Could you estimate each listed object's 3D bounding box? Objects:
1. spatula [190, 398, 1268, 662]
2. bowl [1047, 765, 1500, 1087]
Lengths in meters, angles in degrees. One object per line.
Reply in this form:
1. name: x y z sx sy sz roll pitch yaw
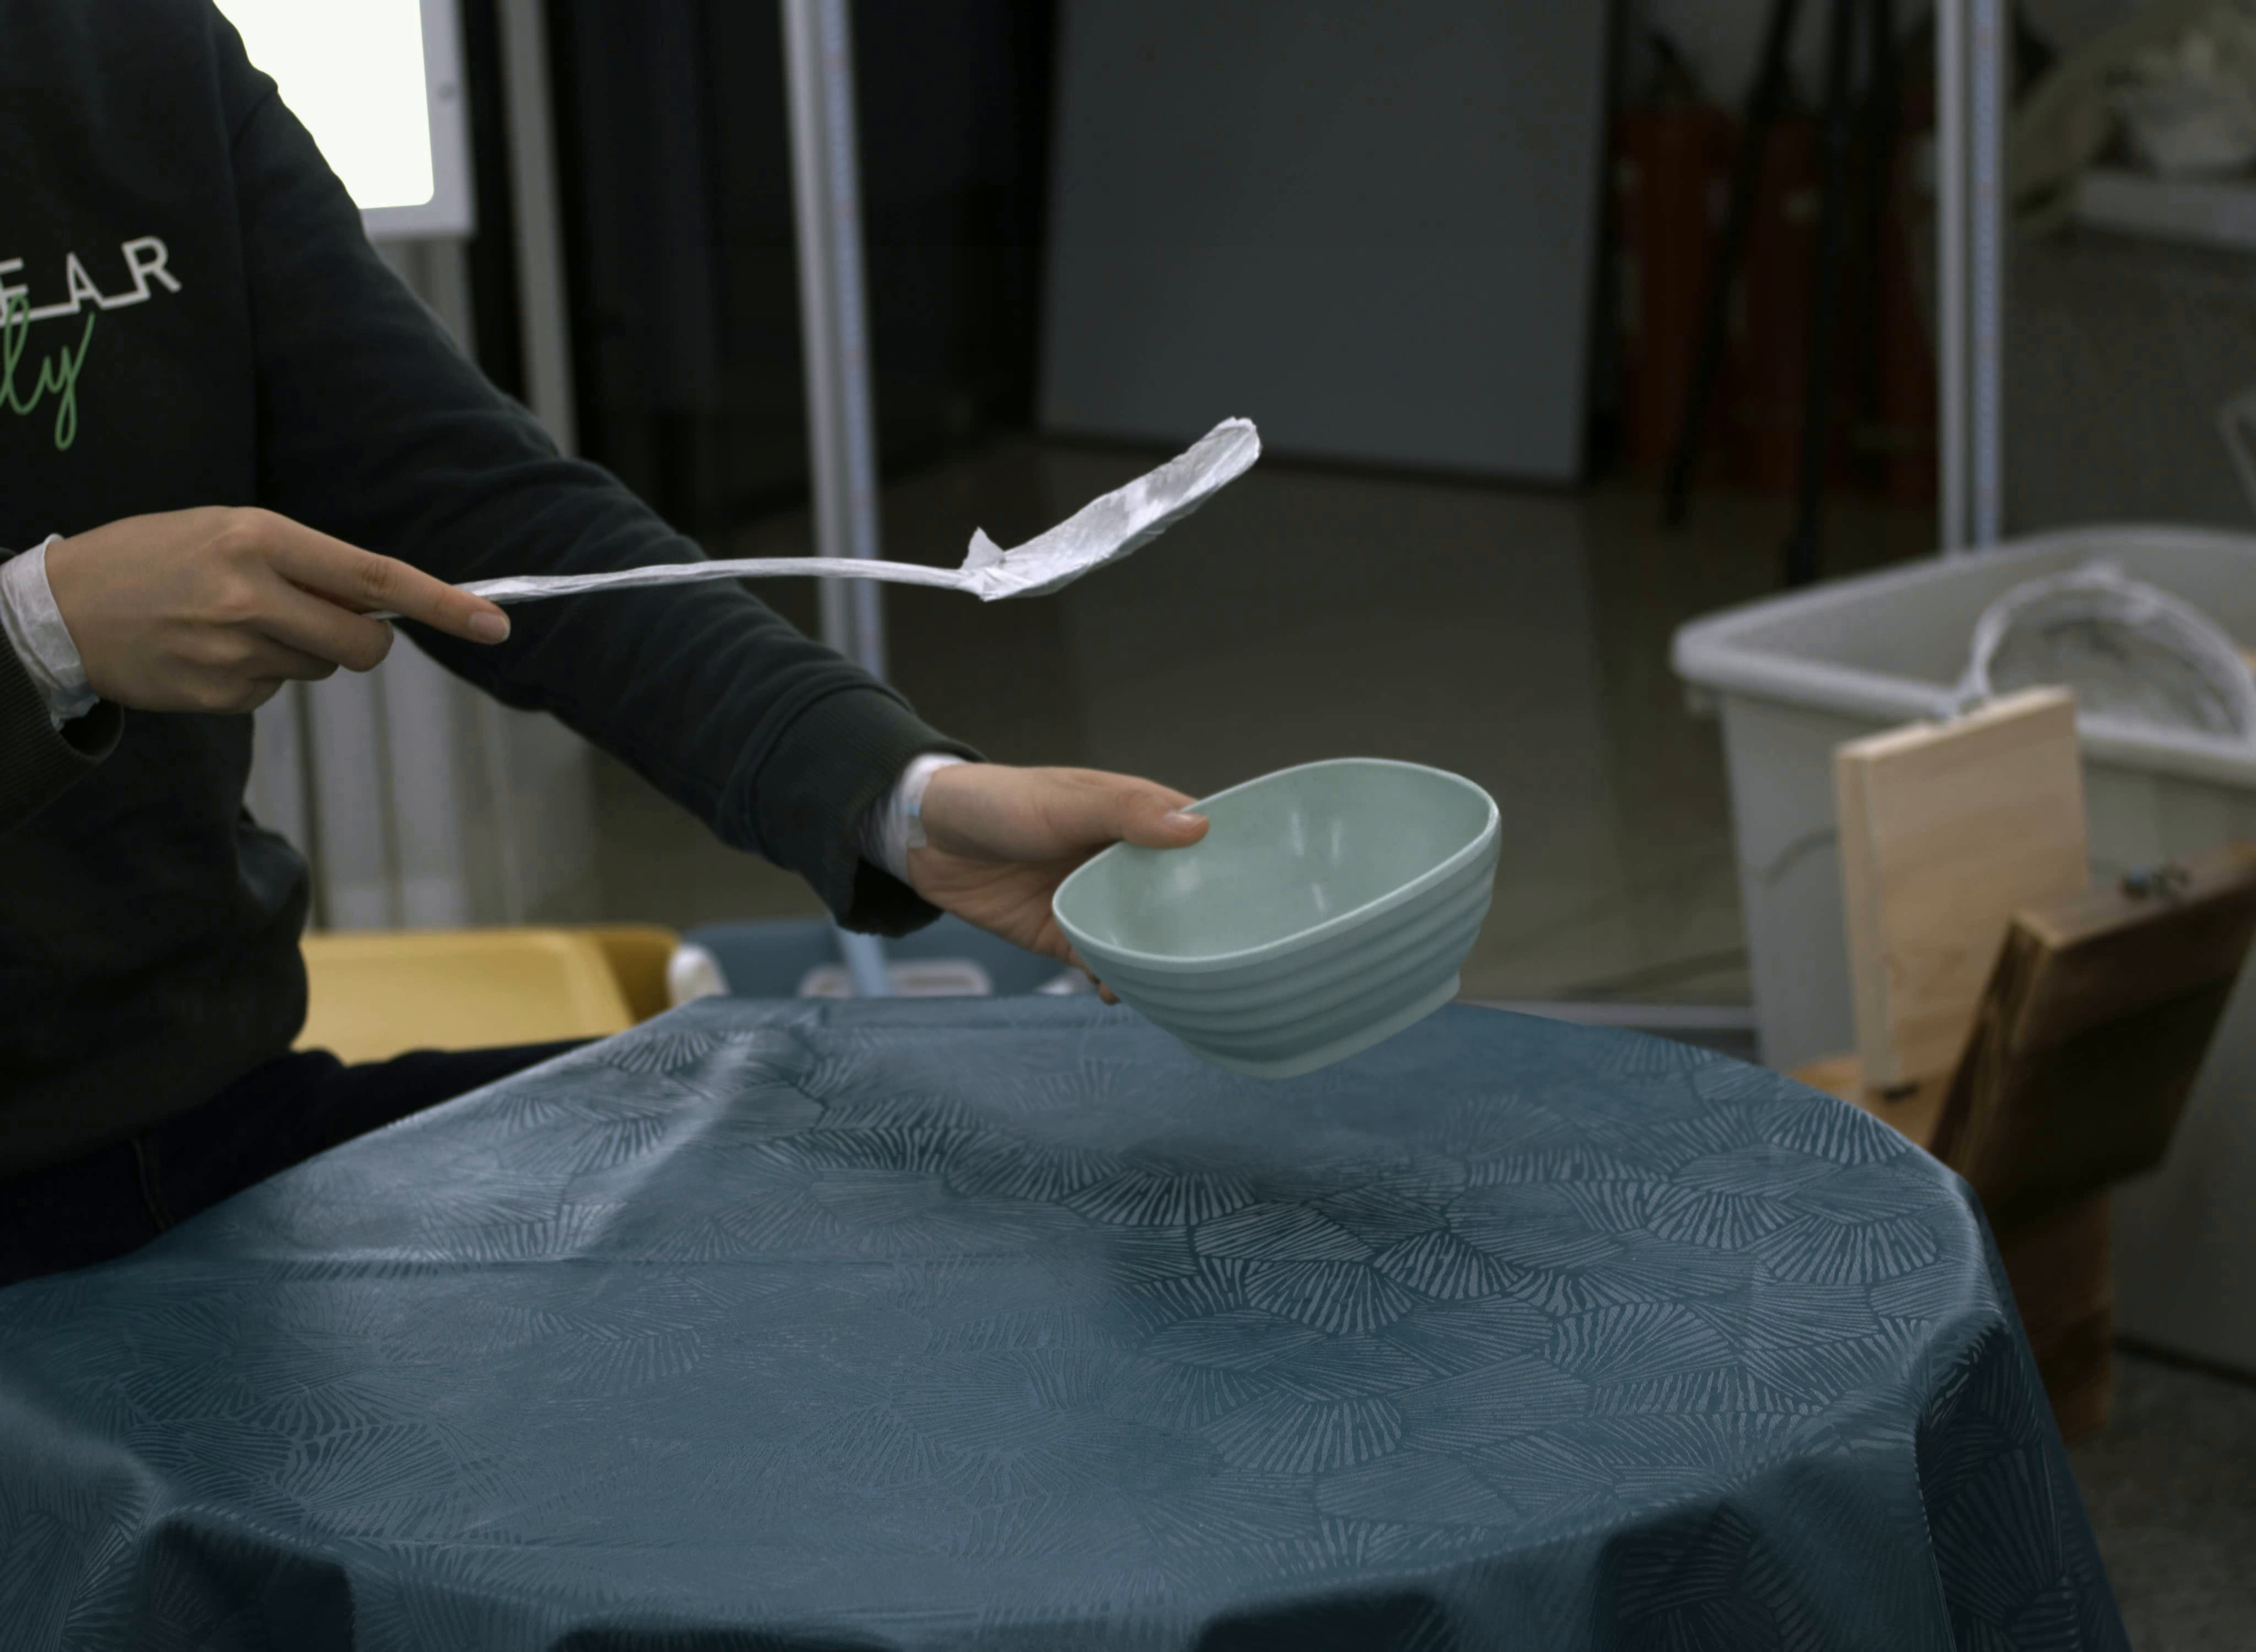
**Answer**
1. spatula: -0.132 -0.088 1.723 0.362 0.045 0.098 -5 18 9
2. bowl: 0.052 0.037 1.731 0.150 0.059 0.152 -13 20 4
